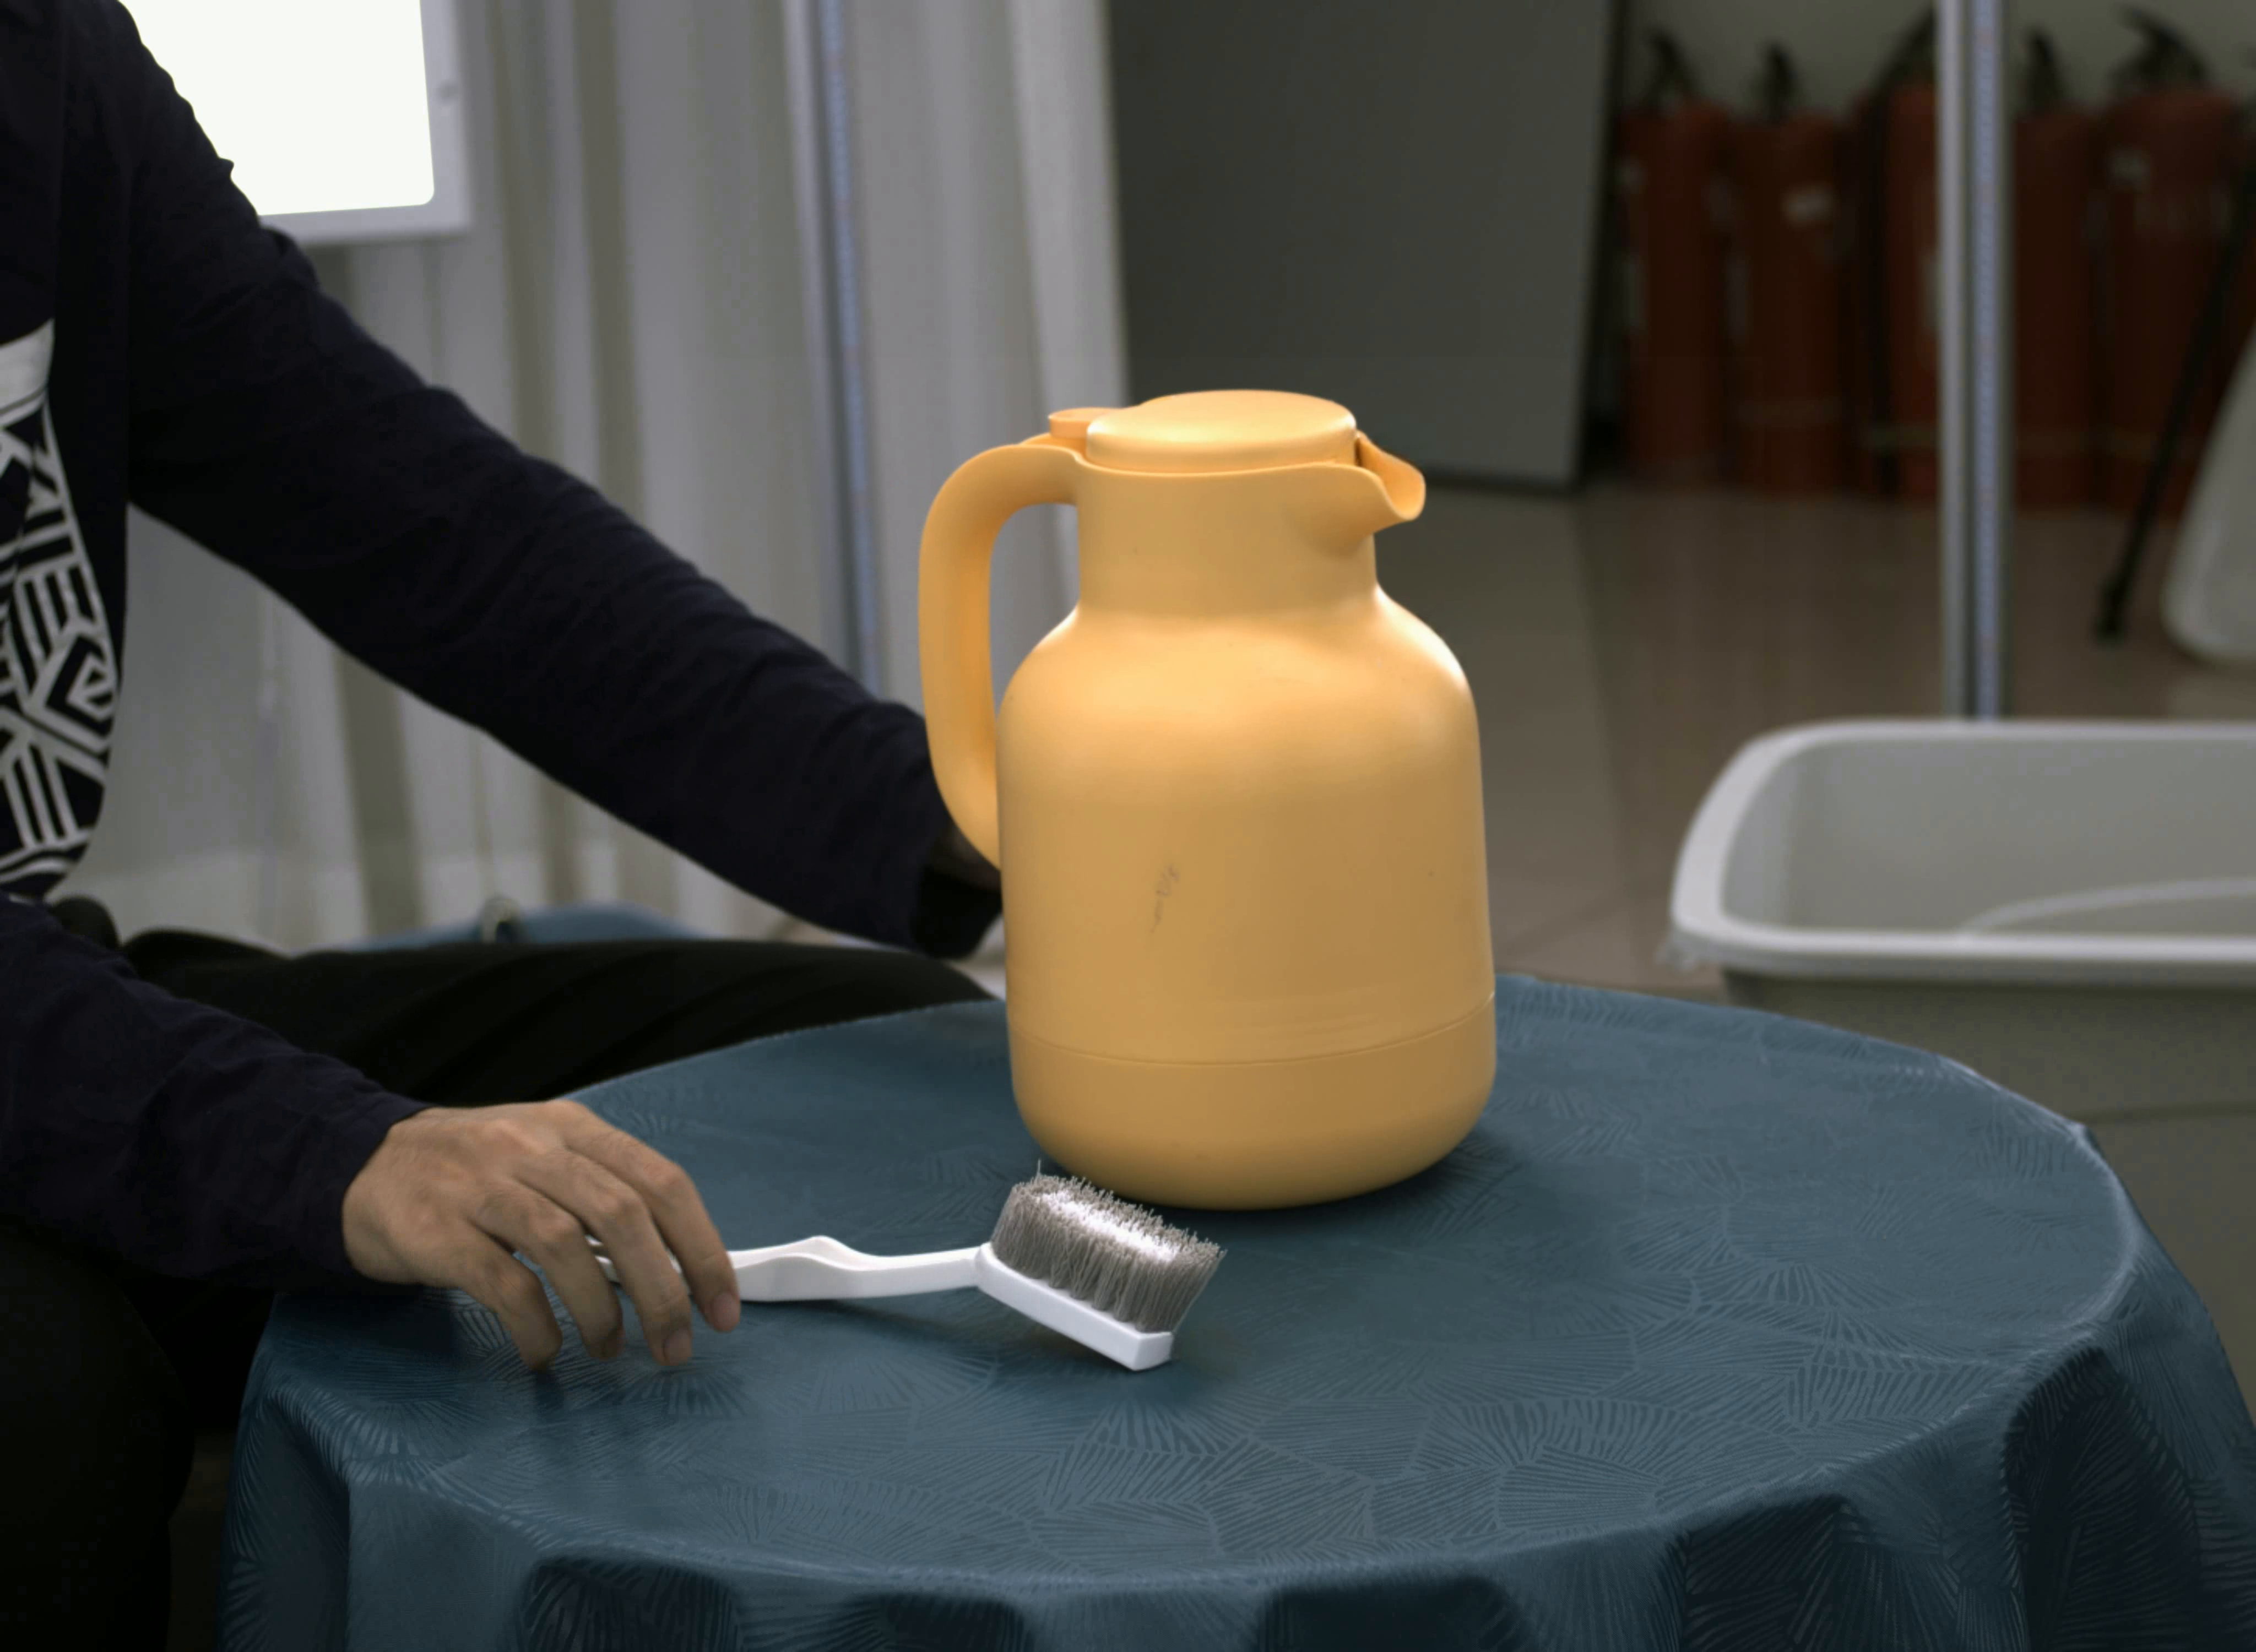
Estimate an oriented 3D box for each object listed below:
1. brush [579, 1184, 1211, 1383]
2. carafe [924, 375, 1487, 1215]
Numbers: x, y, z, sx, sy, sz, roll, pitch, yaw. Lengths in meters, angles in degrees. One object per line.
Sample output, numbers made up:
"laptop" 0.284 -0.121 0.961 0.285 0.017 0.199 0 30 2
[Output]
"brush" -0.078 0.128 1.668 0.245 0.051 0.034 7 22 37
"carafe" 0.021 -0.016 1.778 0.204 0.263 0.160 8 15 38
